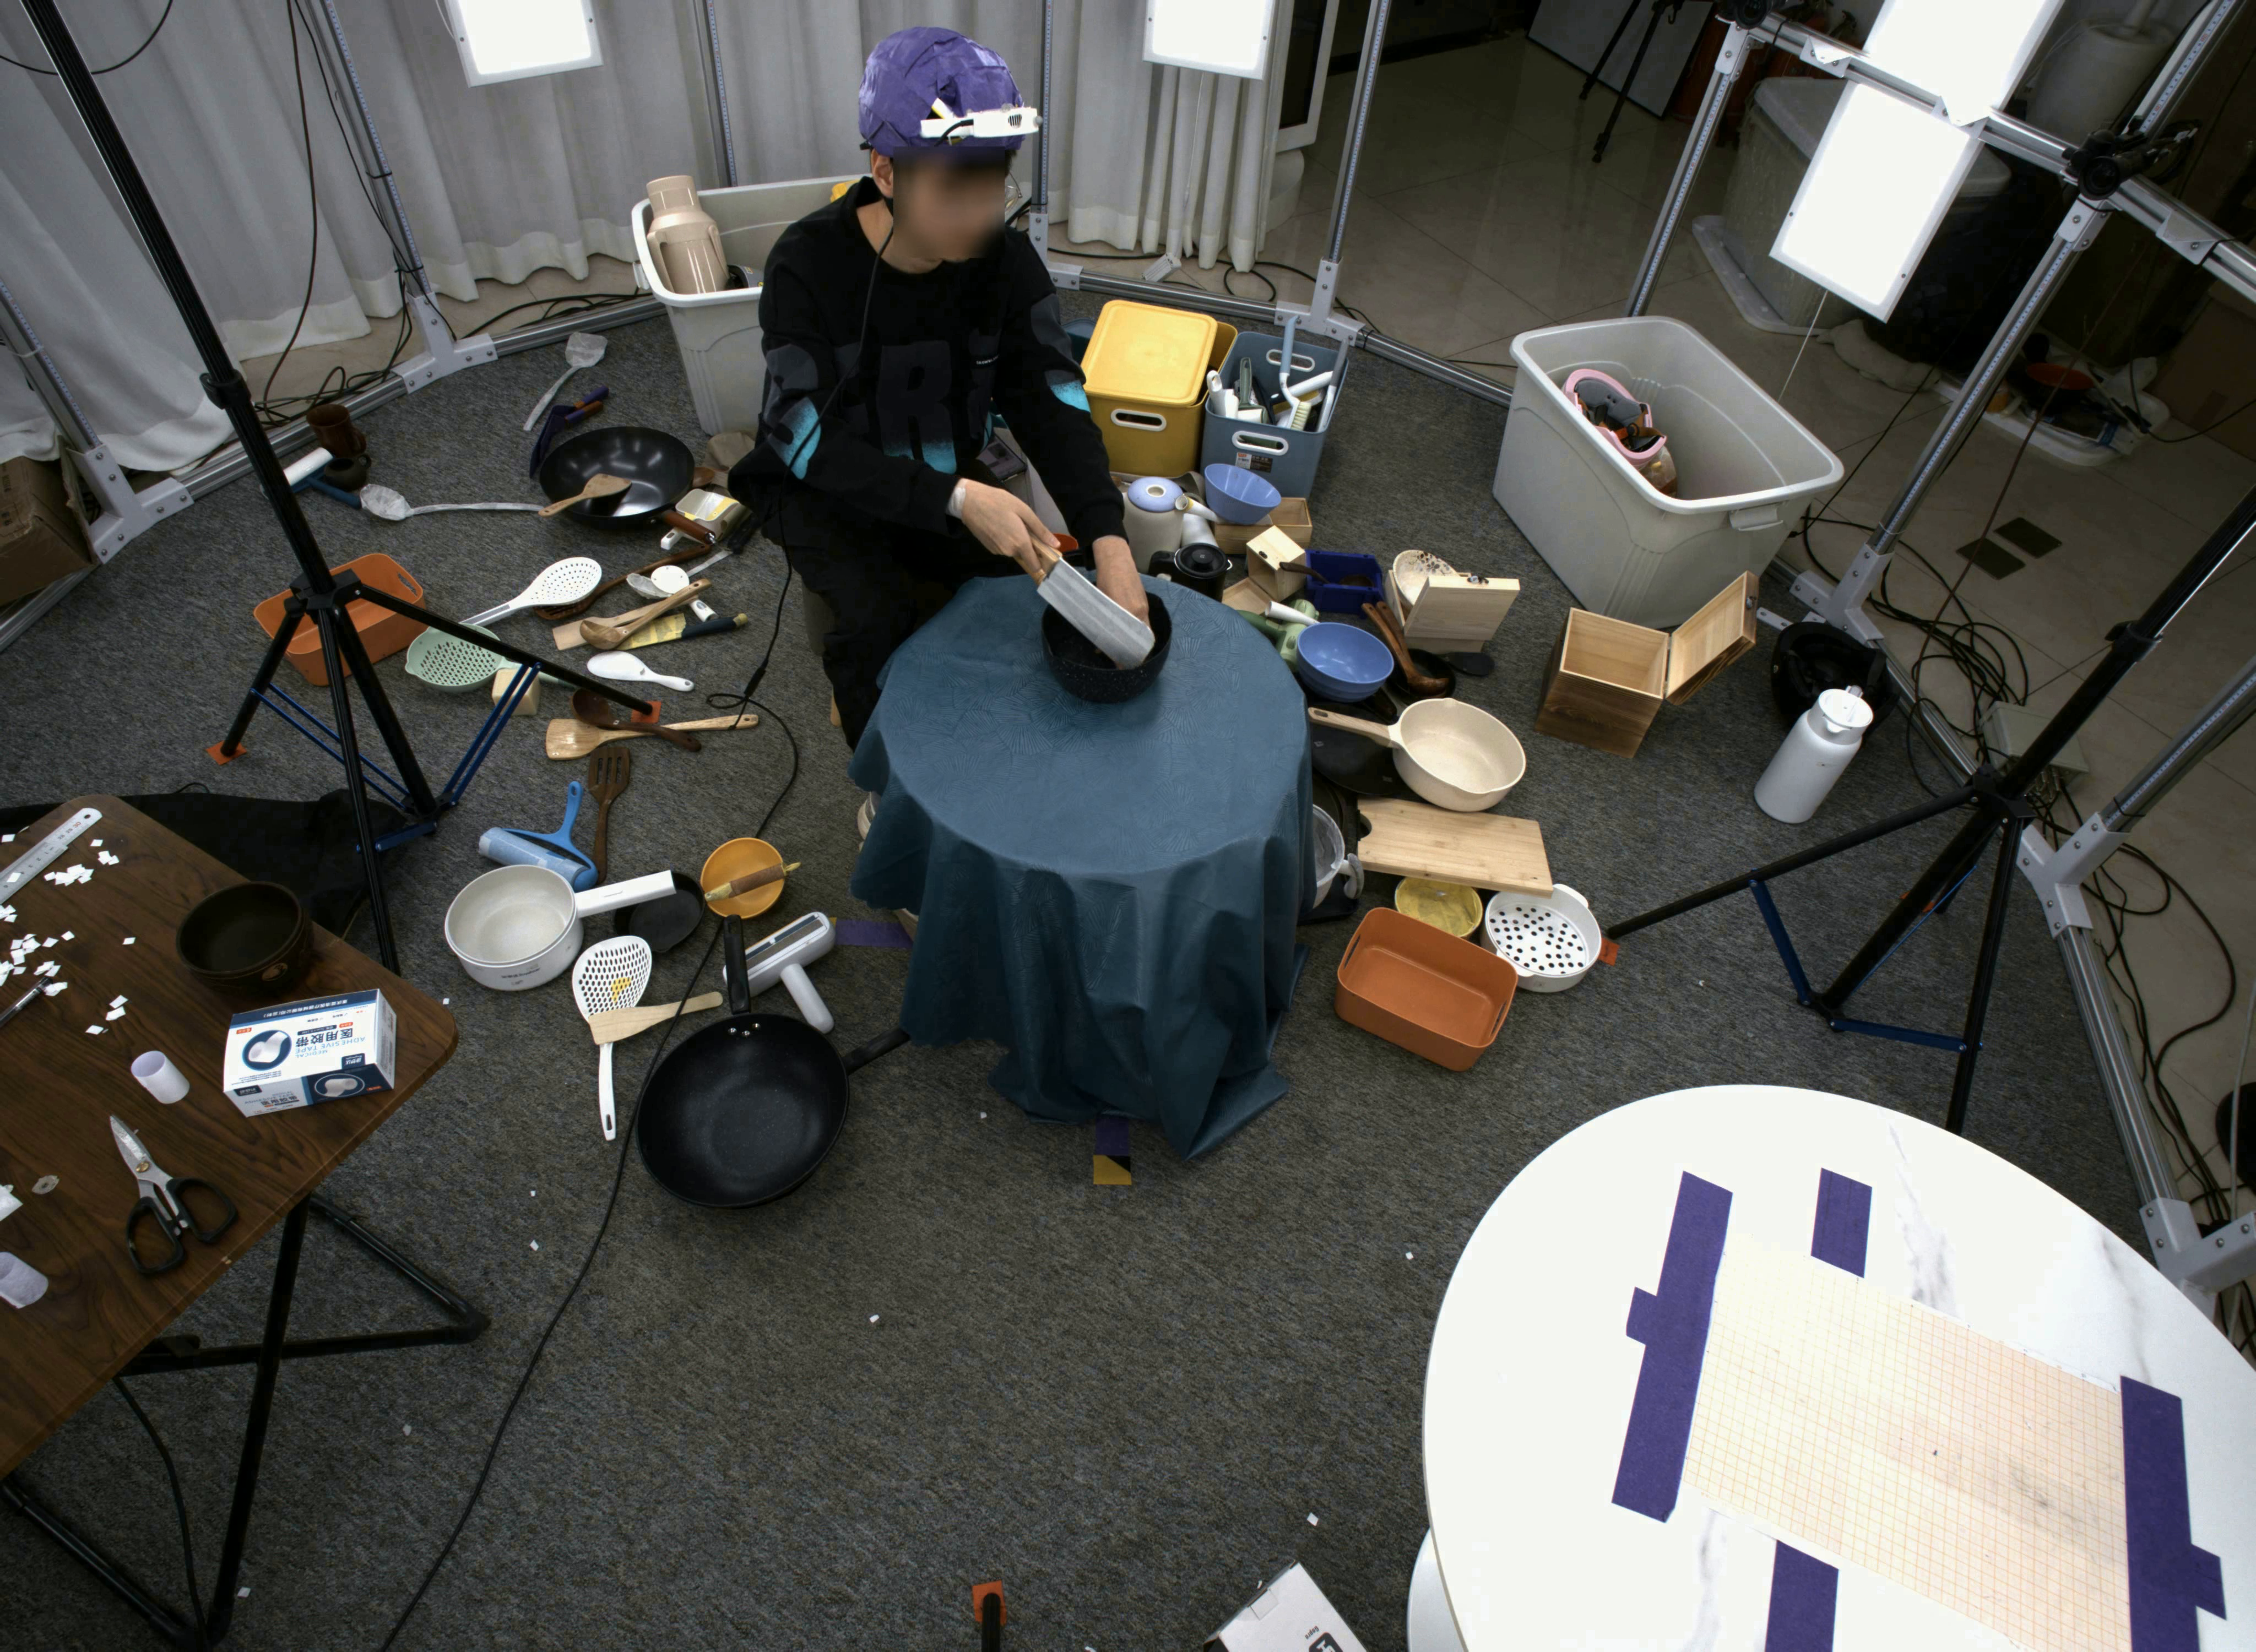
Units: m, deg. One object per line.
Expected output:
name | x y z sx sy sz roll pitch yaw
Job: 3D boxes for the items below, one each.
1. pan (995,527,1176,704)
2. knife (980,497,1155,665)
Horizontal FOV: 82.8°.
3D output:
pan | -0.081 -0.311 1.863 0.209 0.105 0.348 -34 60 -27
knife | -0.083 -0.337 1.780 0.315 0.112 0.022 43 55 1
